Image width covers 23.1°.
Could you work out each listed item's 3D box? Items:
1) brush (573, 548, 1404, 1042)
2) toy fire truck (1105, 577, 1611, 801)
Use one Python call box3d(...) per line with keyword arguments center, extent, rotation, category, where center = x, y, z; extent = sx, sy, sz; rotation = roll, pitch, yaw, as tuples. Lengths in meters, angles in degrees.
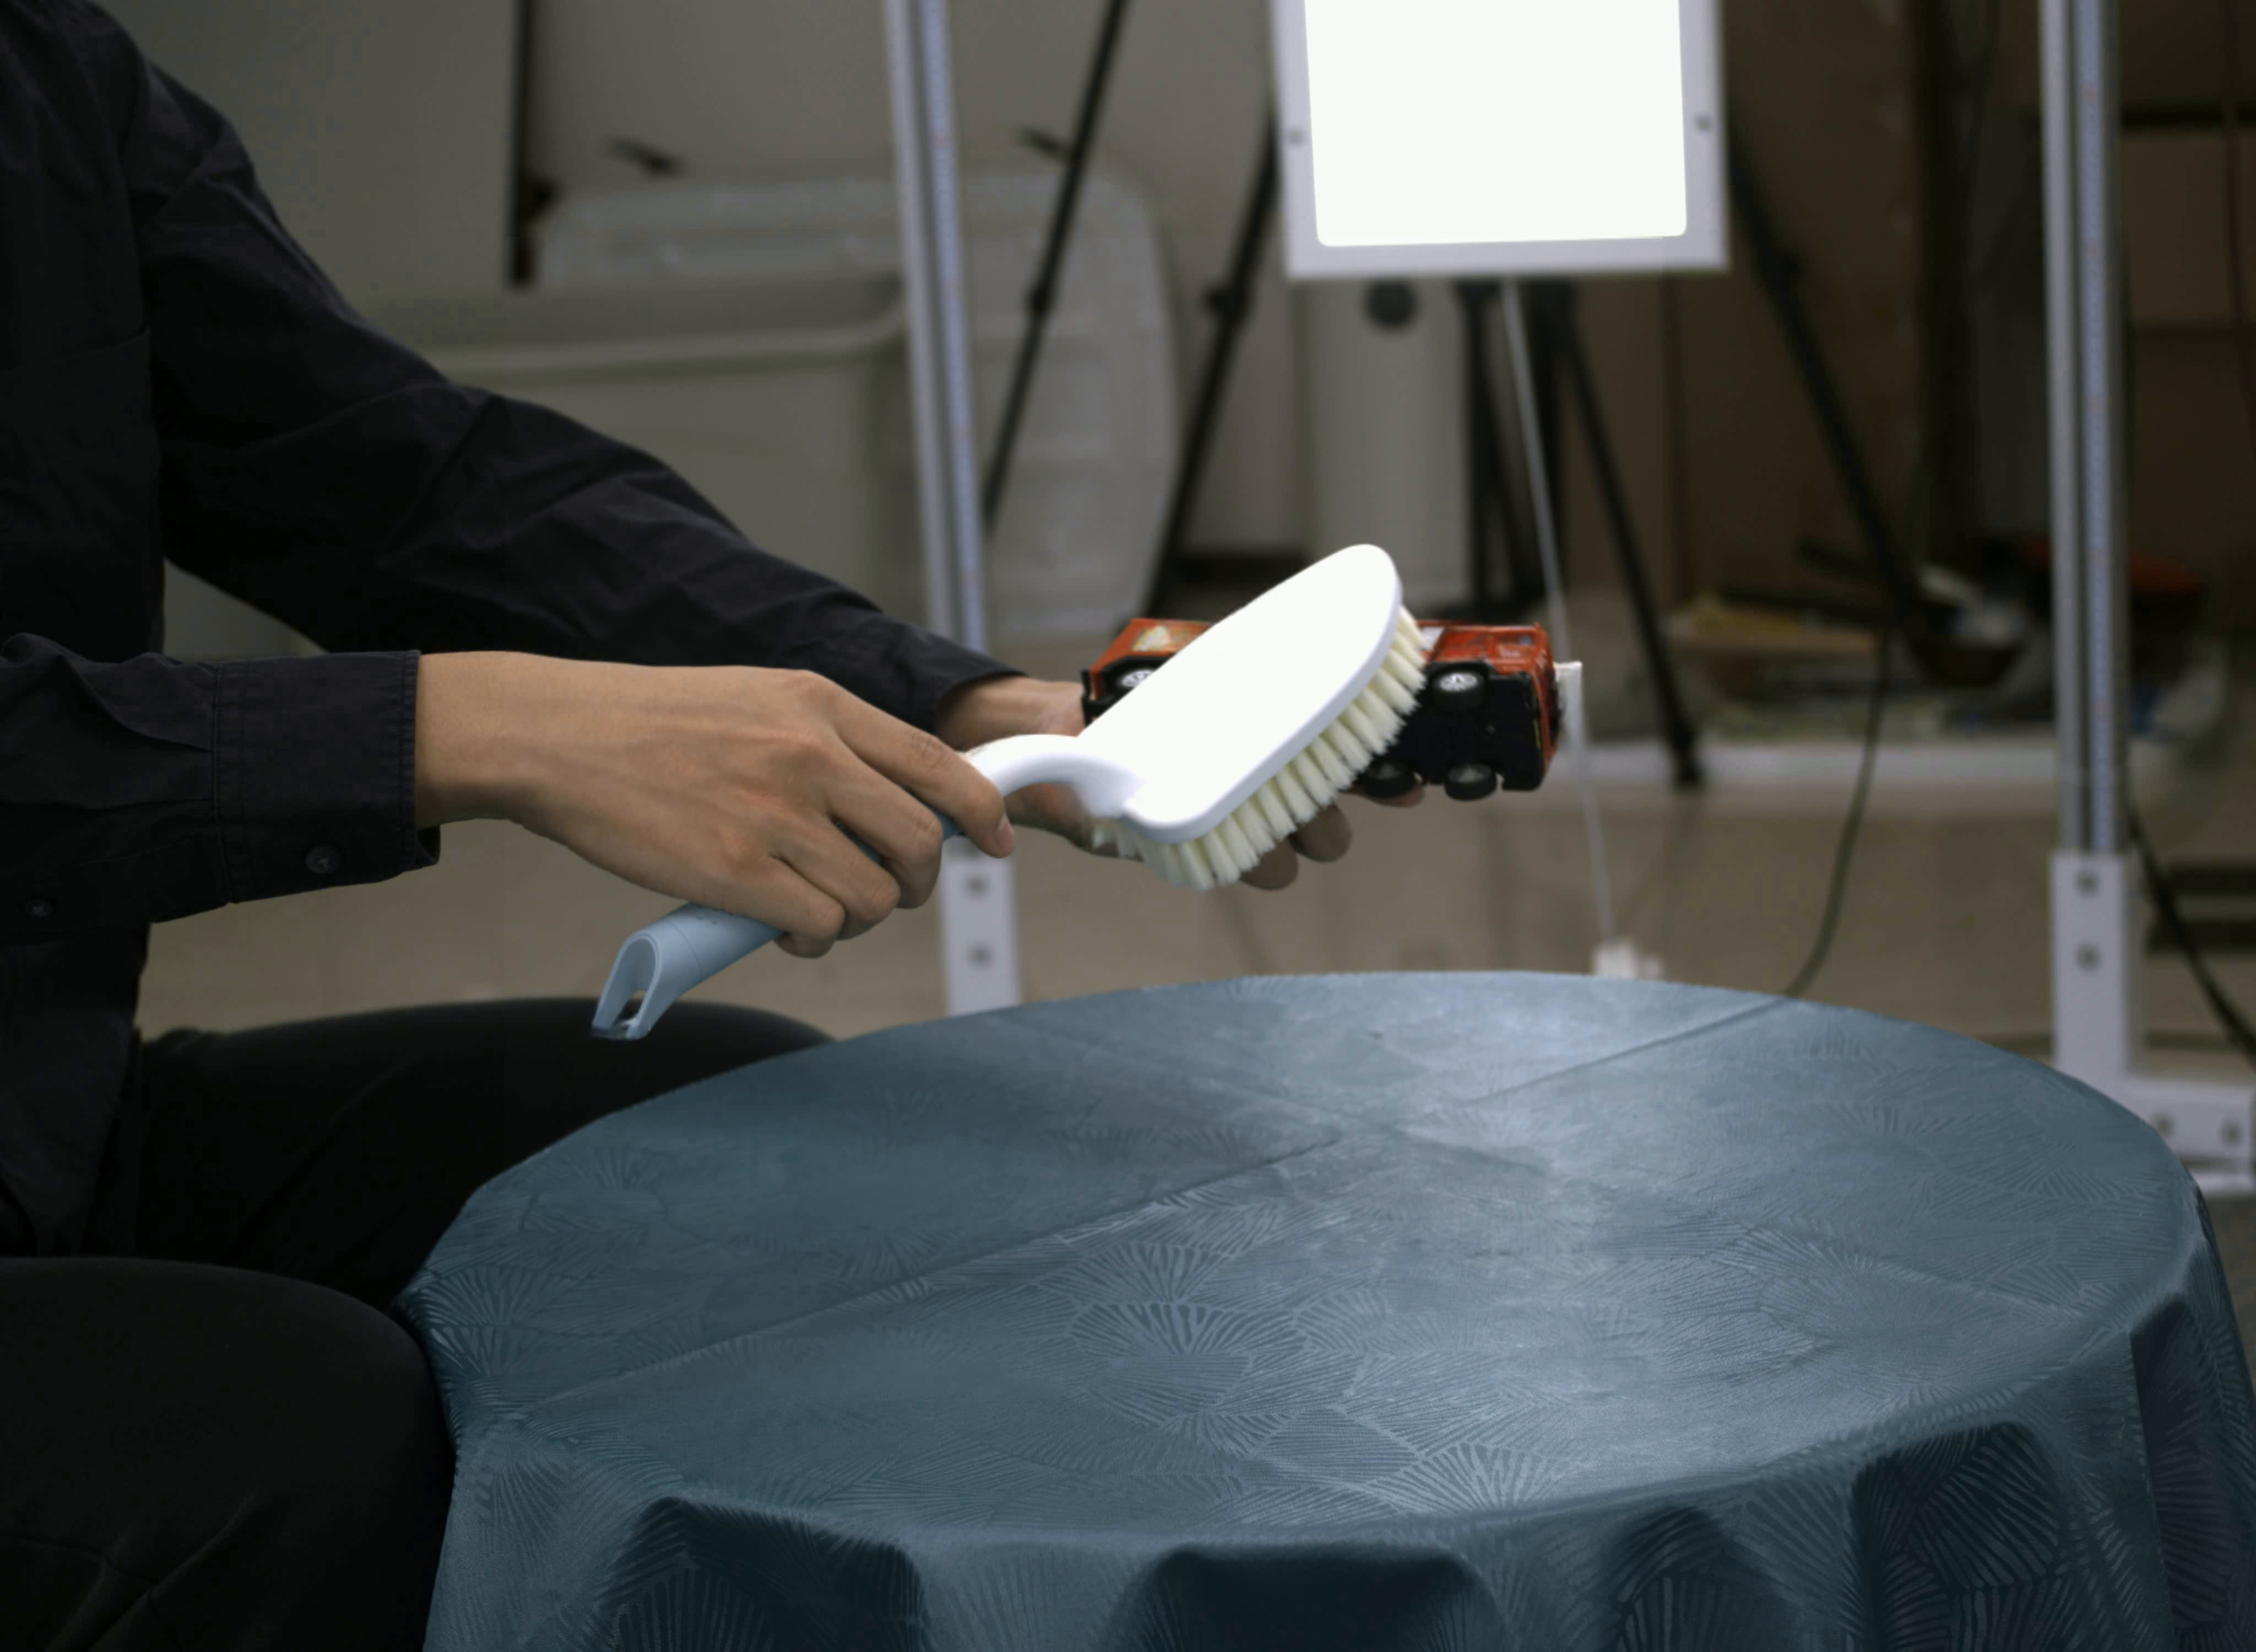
box3d(center=(-0.041, 0.009, 1.797), extent=(0.320, 0.084, 0.084), rotation=(-30, 4, -22), category="brush")
box3d(center=(0.078, -0.048, 1.885), extent=(0.170, 0.054, 0.069), rotation=(2, 29, 22), category="toy fire truck")
